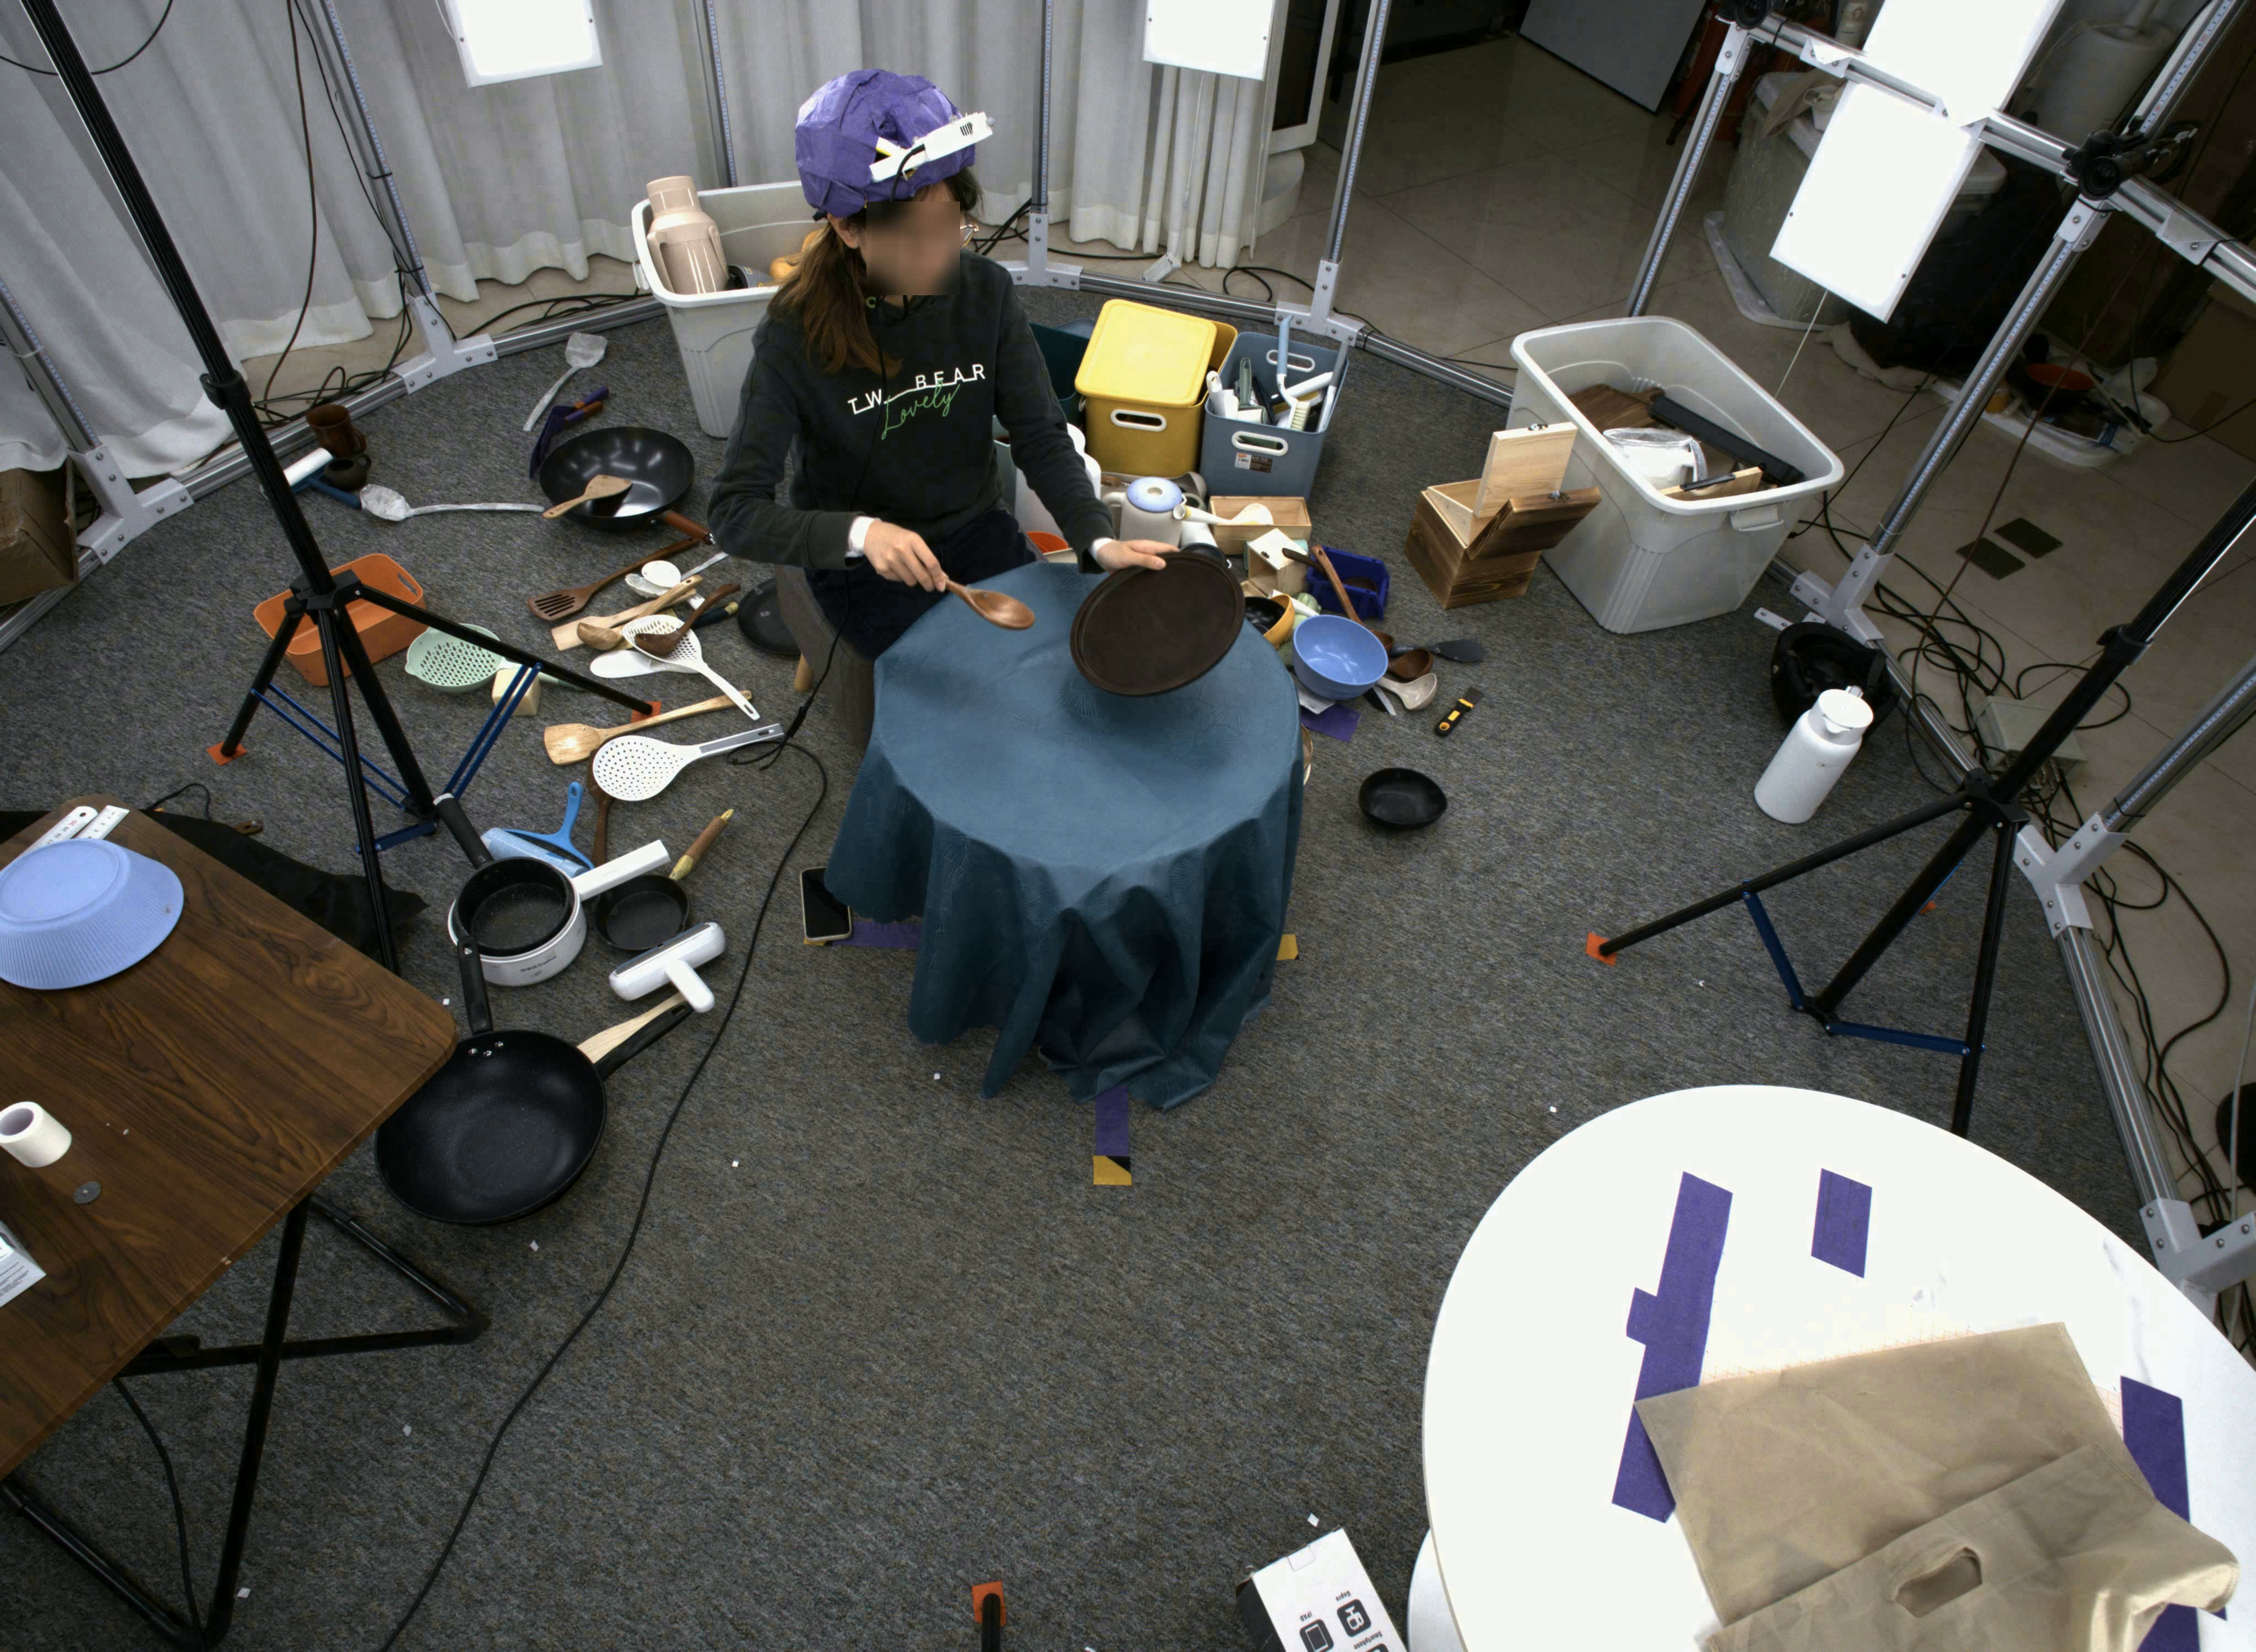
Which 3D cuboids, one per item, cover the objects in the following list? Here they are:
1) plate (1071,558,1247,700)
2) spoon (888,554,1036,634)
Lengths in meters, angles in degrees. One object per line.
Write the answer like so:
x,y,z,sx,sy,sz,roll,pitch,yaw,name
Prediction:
0.044,-0.276,1.789,0.254,0.028,0.261,-11,53,14,plate
-0.222,-0.309,1.716,0.216,0.017,0.077,28,37,5,spoon
